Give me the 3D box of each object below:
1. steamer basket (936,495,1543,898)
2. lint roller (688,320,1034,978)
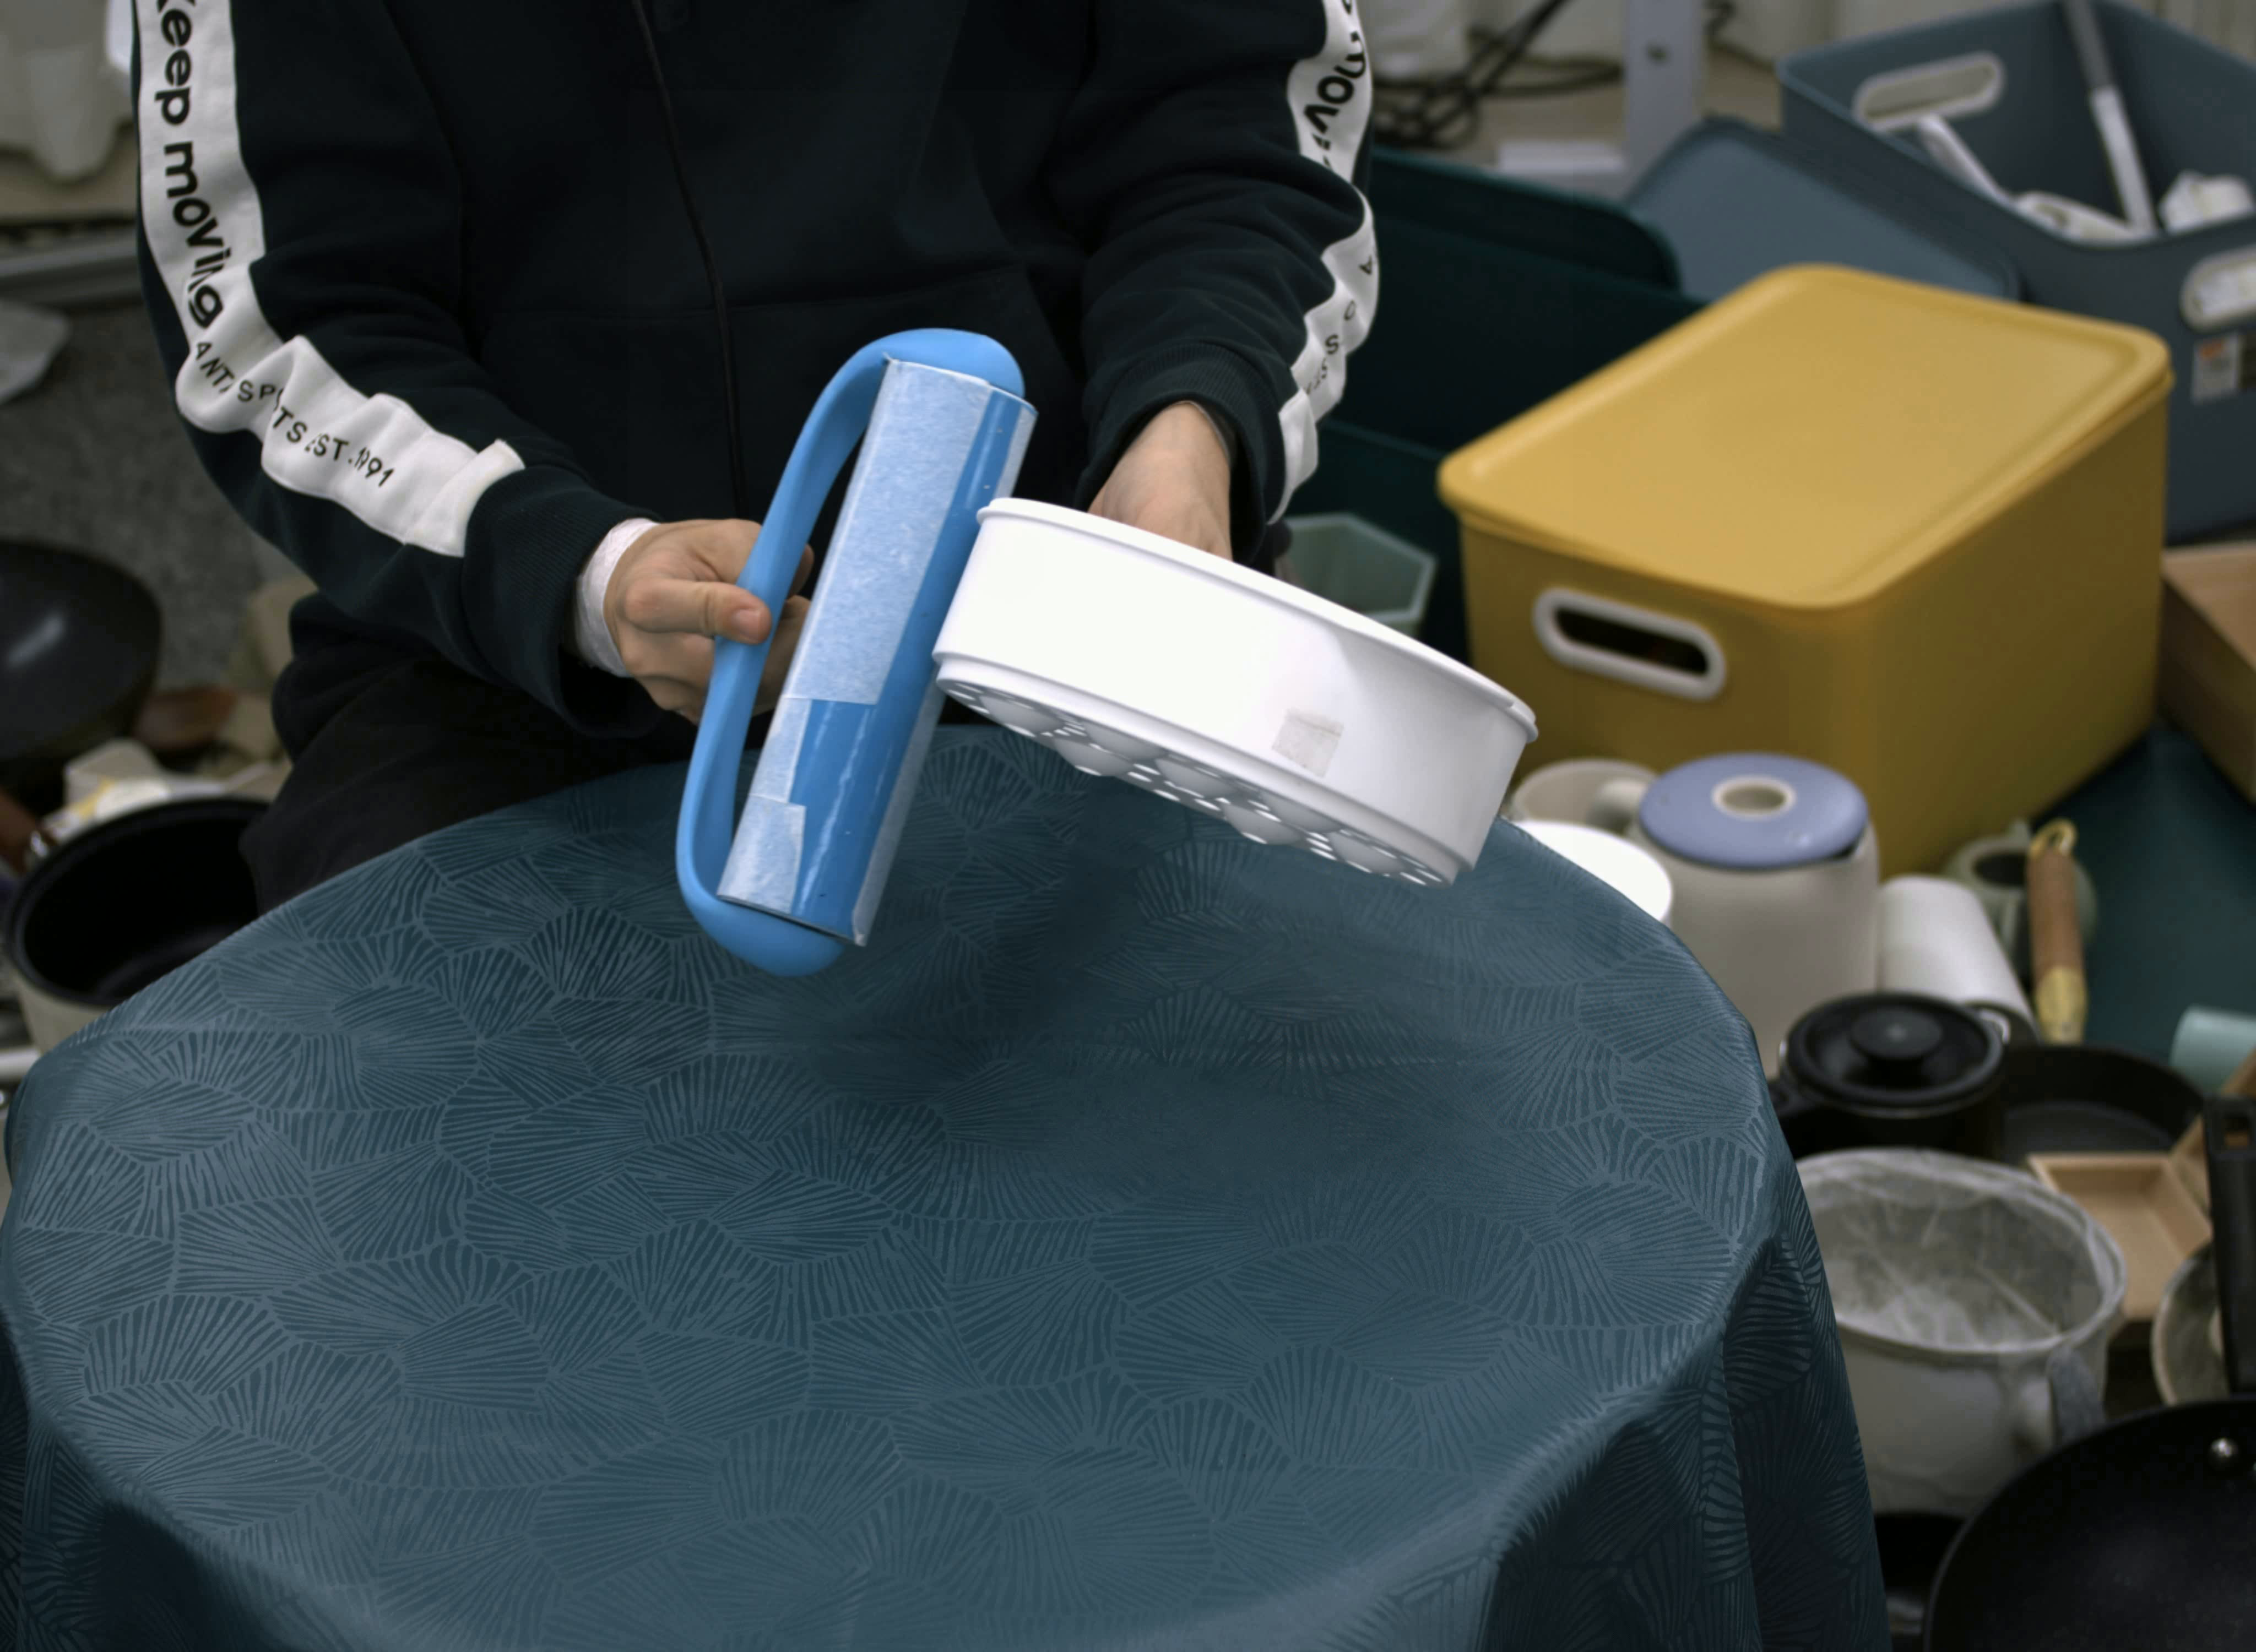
[{"bbox_3d":[0.034,-0.039,1.860,0.201,0.070,0.229,27,-8,-34],"label":"steamer basket"},{"bbox_3d":[-0.110,-0.060,1.951,0.068,0.231,0.179,18,-10,-25],"label":"lint roller"}]
